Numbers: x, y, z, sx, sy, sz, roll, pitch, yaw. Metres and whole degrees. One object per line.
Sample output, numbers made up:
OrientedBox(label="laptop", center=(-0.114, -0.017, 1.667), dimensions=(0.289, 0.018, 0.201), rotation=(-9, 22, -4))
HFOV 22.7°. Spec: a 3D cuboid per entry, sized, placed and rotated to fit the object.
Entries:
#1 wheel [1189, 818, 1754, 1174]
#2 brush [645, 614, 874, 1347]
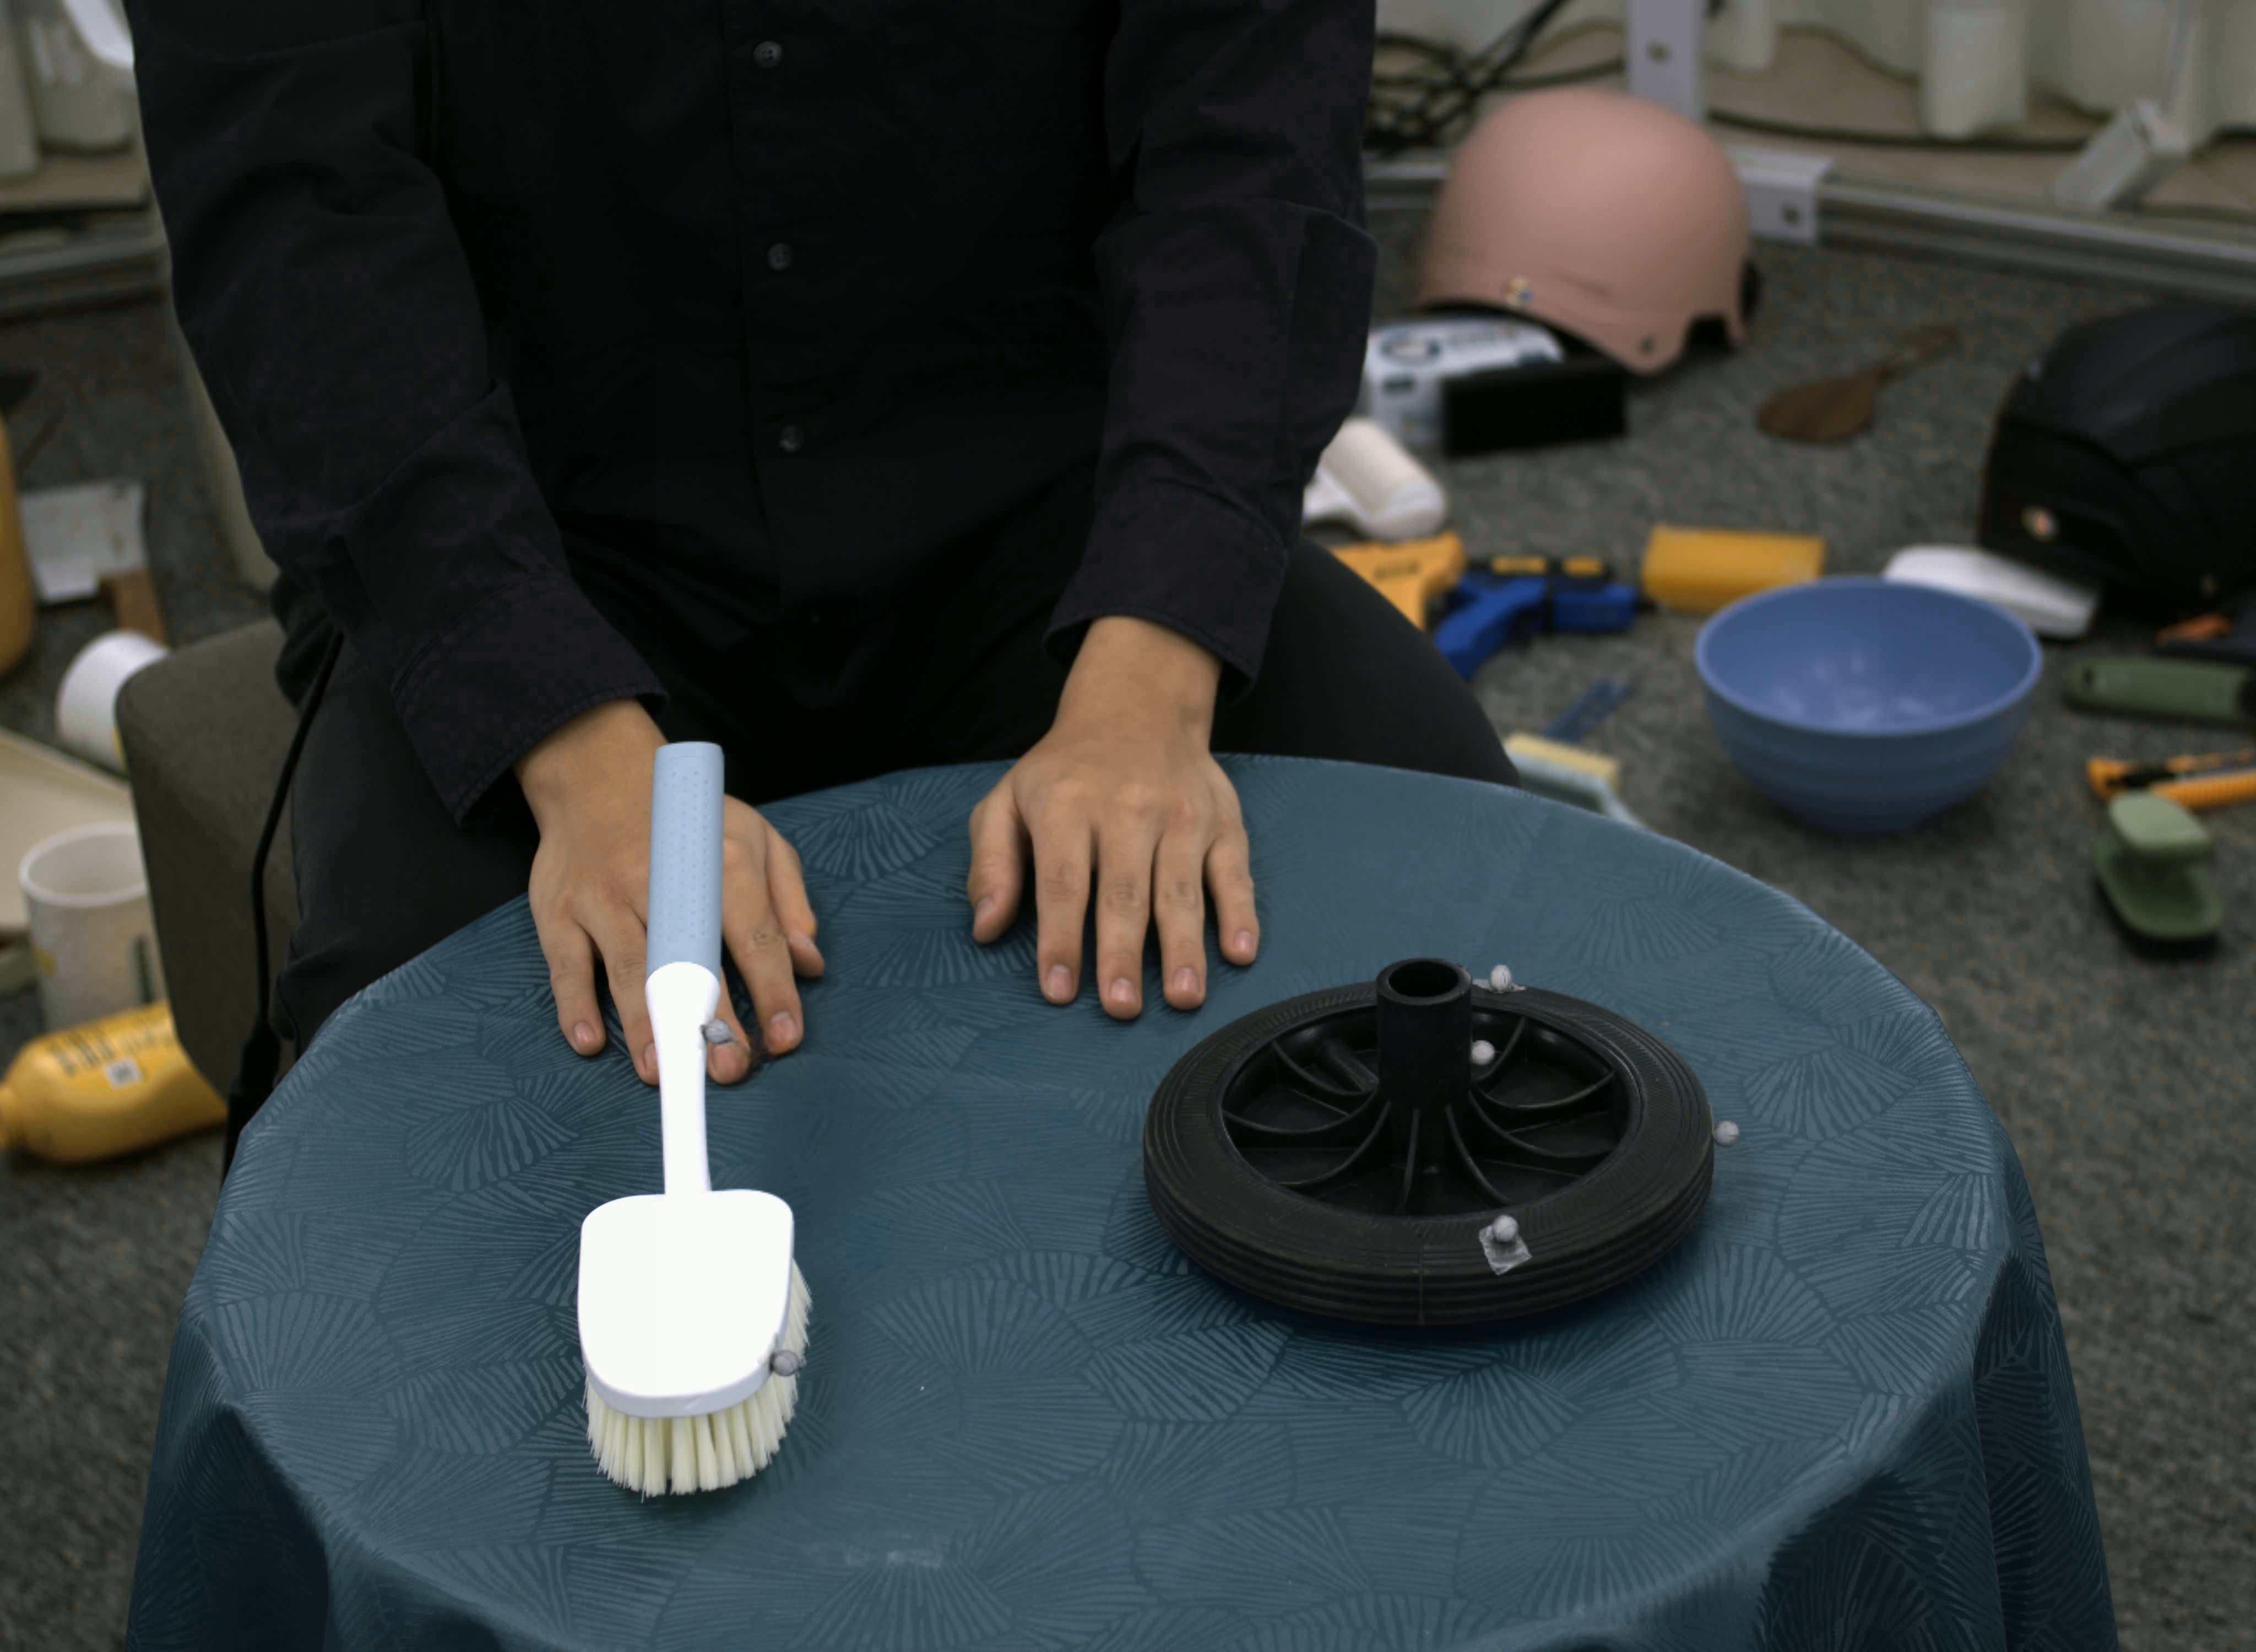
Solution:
OrientedBox(label="wheel", center=(0.112, 0.039, 1.863), dimensions=(0.191, 0.078, 0.188), rotation=(-18, 31, -23))
OrientedBox(label="brush", center=(-0.117, 0.058, 1.850), dimensions=(0.083, 0.083, 0.331), rotation=(27, 33, -22))
